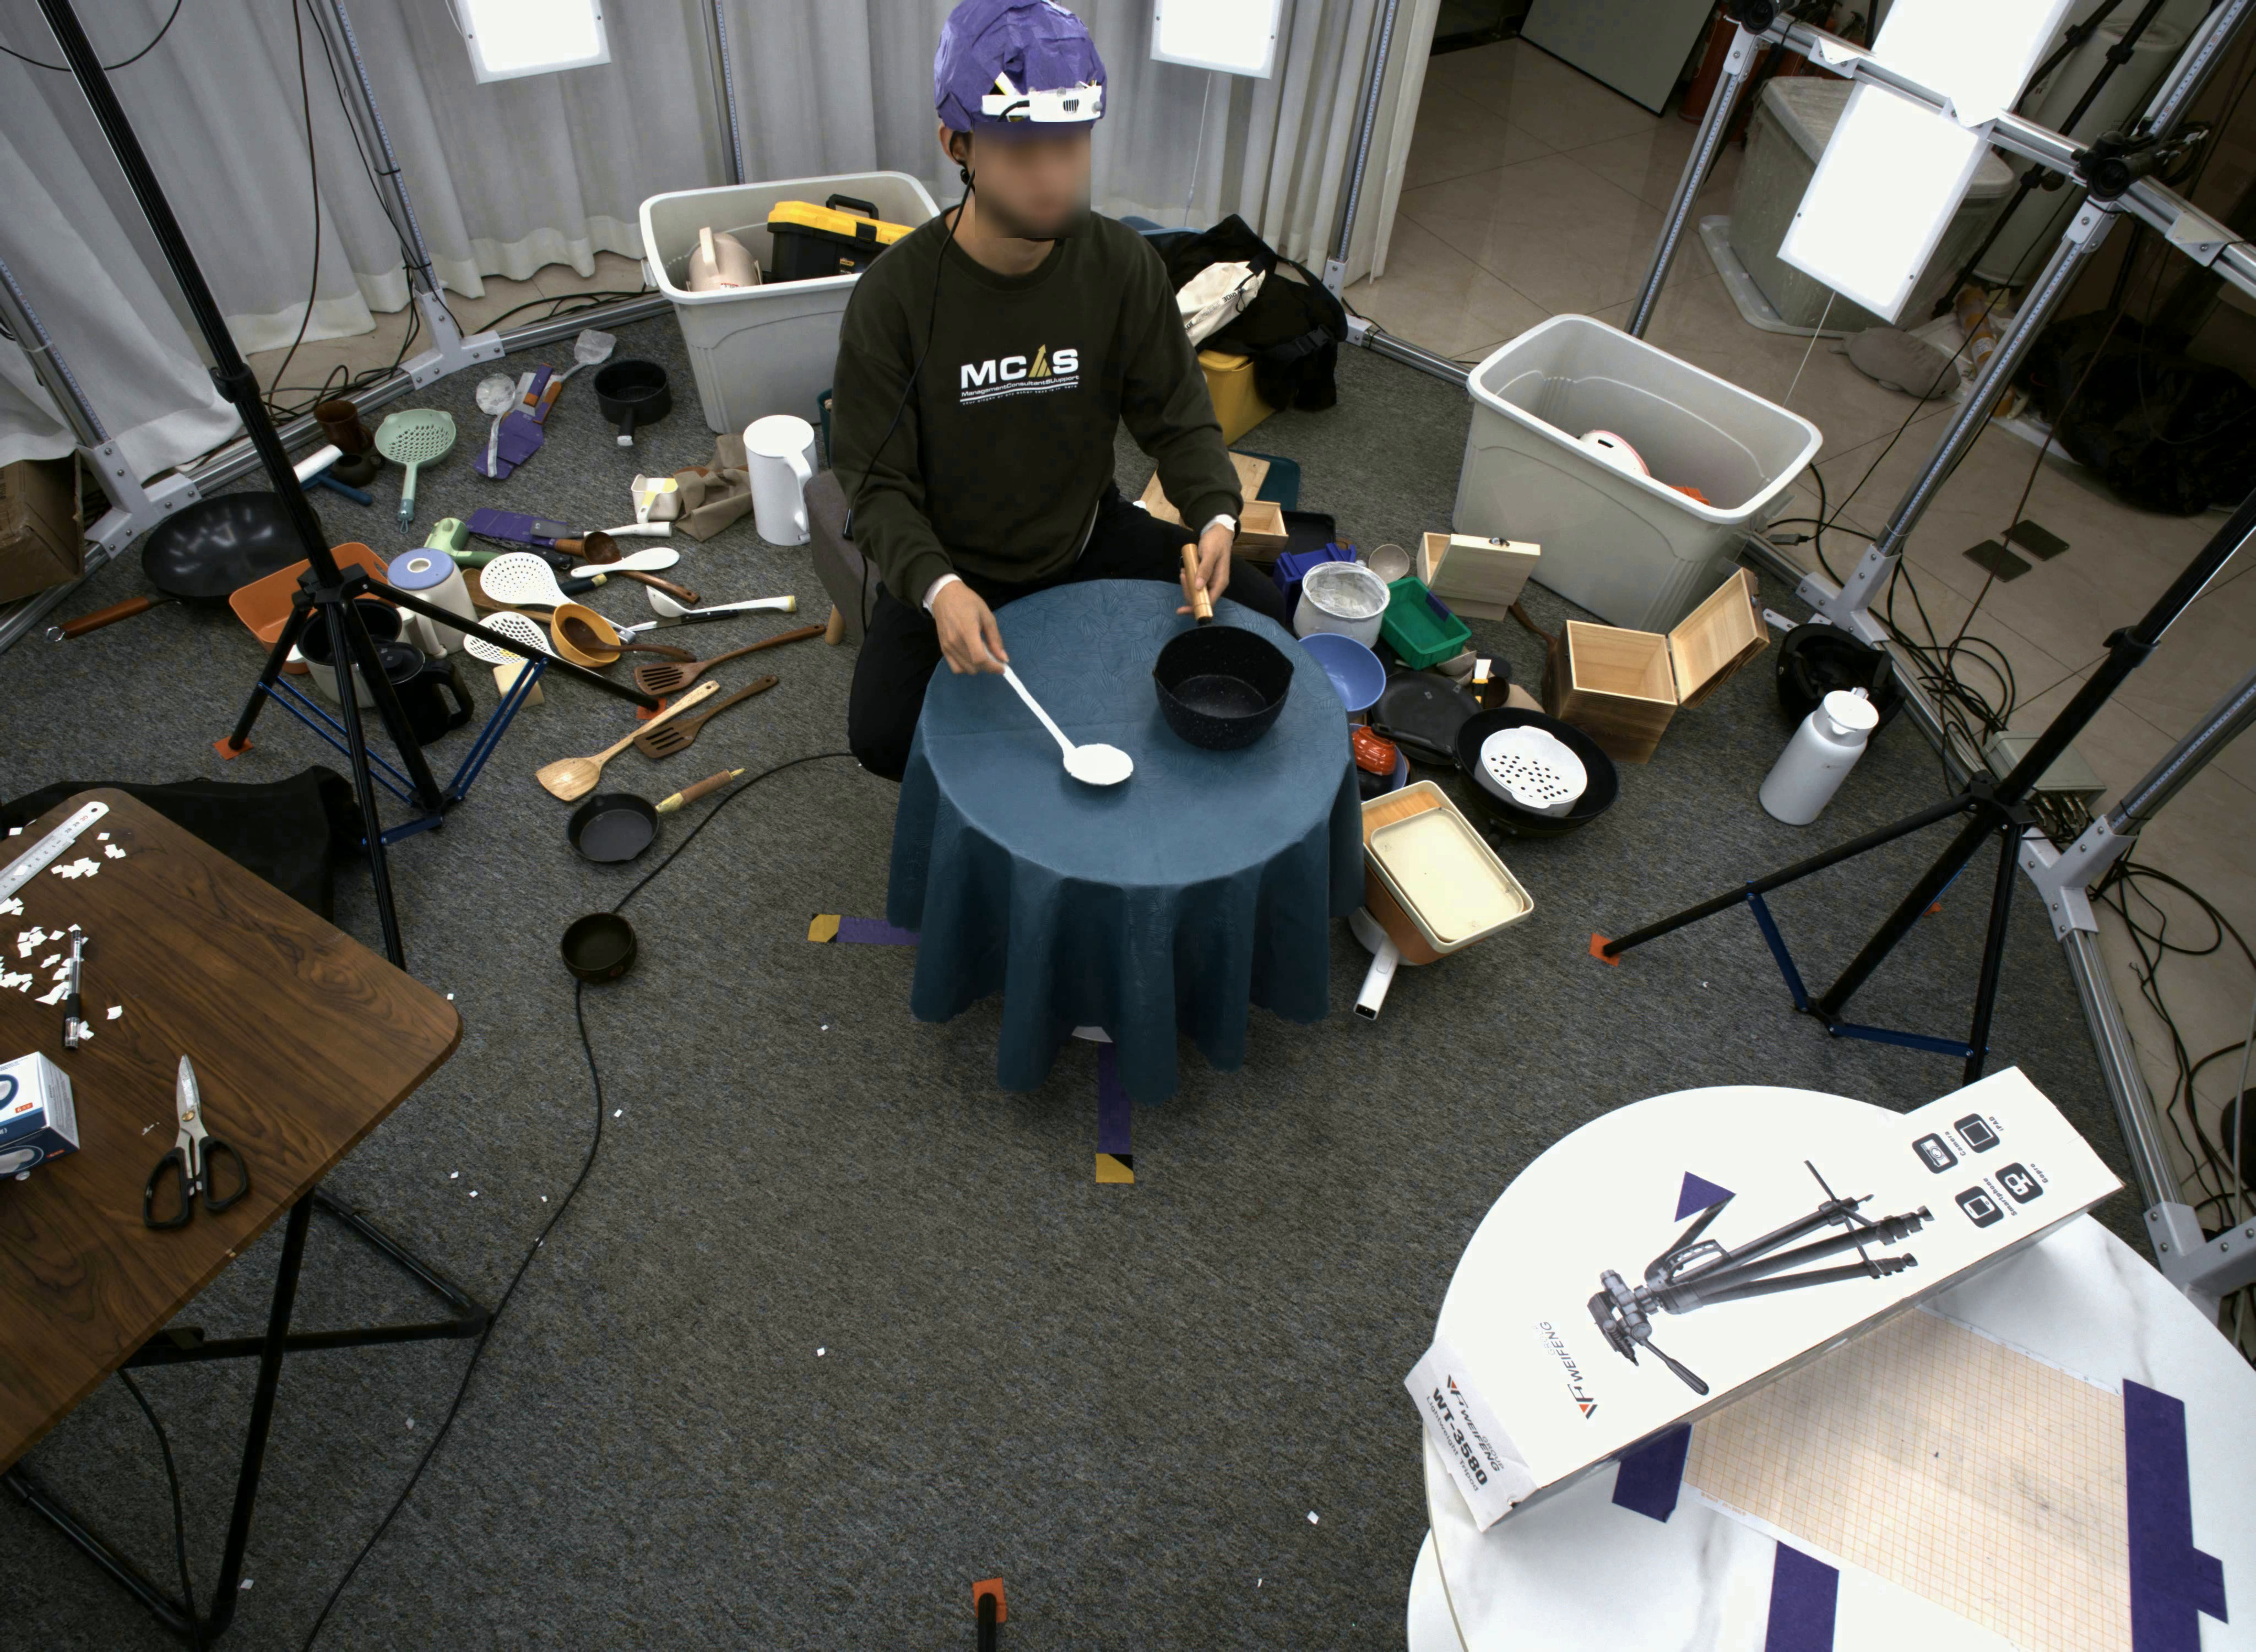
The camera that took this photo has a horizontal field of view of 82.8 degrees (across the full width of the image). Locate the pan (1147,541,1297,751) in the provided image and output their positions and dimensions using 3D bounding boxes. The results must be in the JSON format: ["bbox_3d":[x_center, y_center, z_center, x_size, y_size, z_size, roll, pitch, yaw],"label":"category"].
[{"bbox_3d":[0.115,-0.256,1.827,0.207,0.105,0.351,-6,51,-8],"label":"pan"}]

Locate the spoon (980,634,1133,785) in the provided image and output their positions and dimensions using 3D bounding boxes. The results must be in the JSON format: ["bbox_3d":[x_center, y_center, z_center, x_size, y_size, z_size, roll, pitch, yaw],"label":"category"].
[{"bbox_3d":[-0.099,-0.163,1.723,0.101,0.058,0.279,-32,82,-42],"label":"spoon"}]
